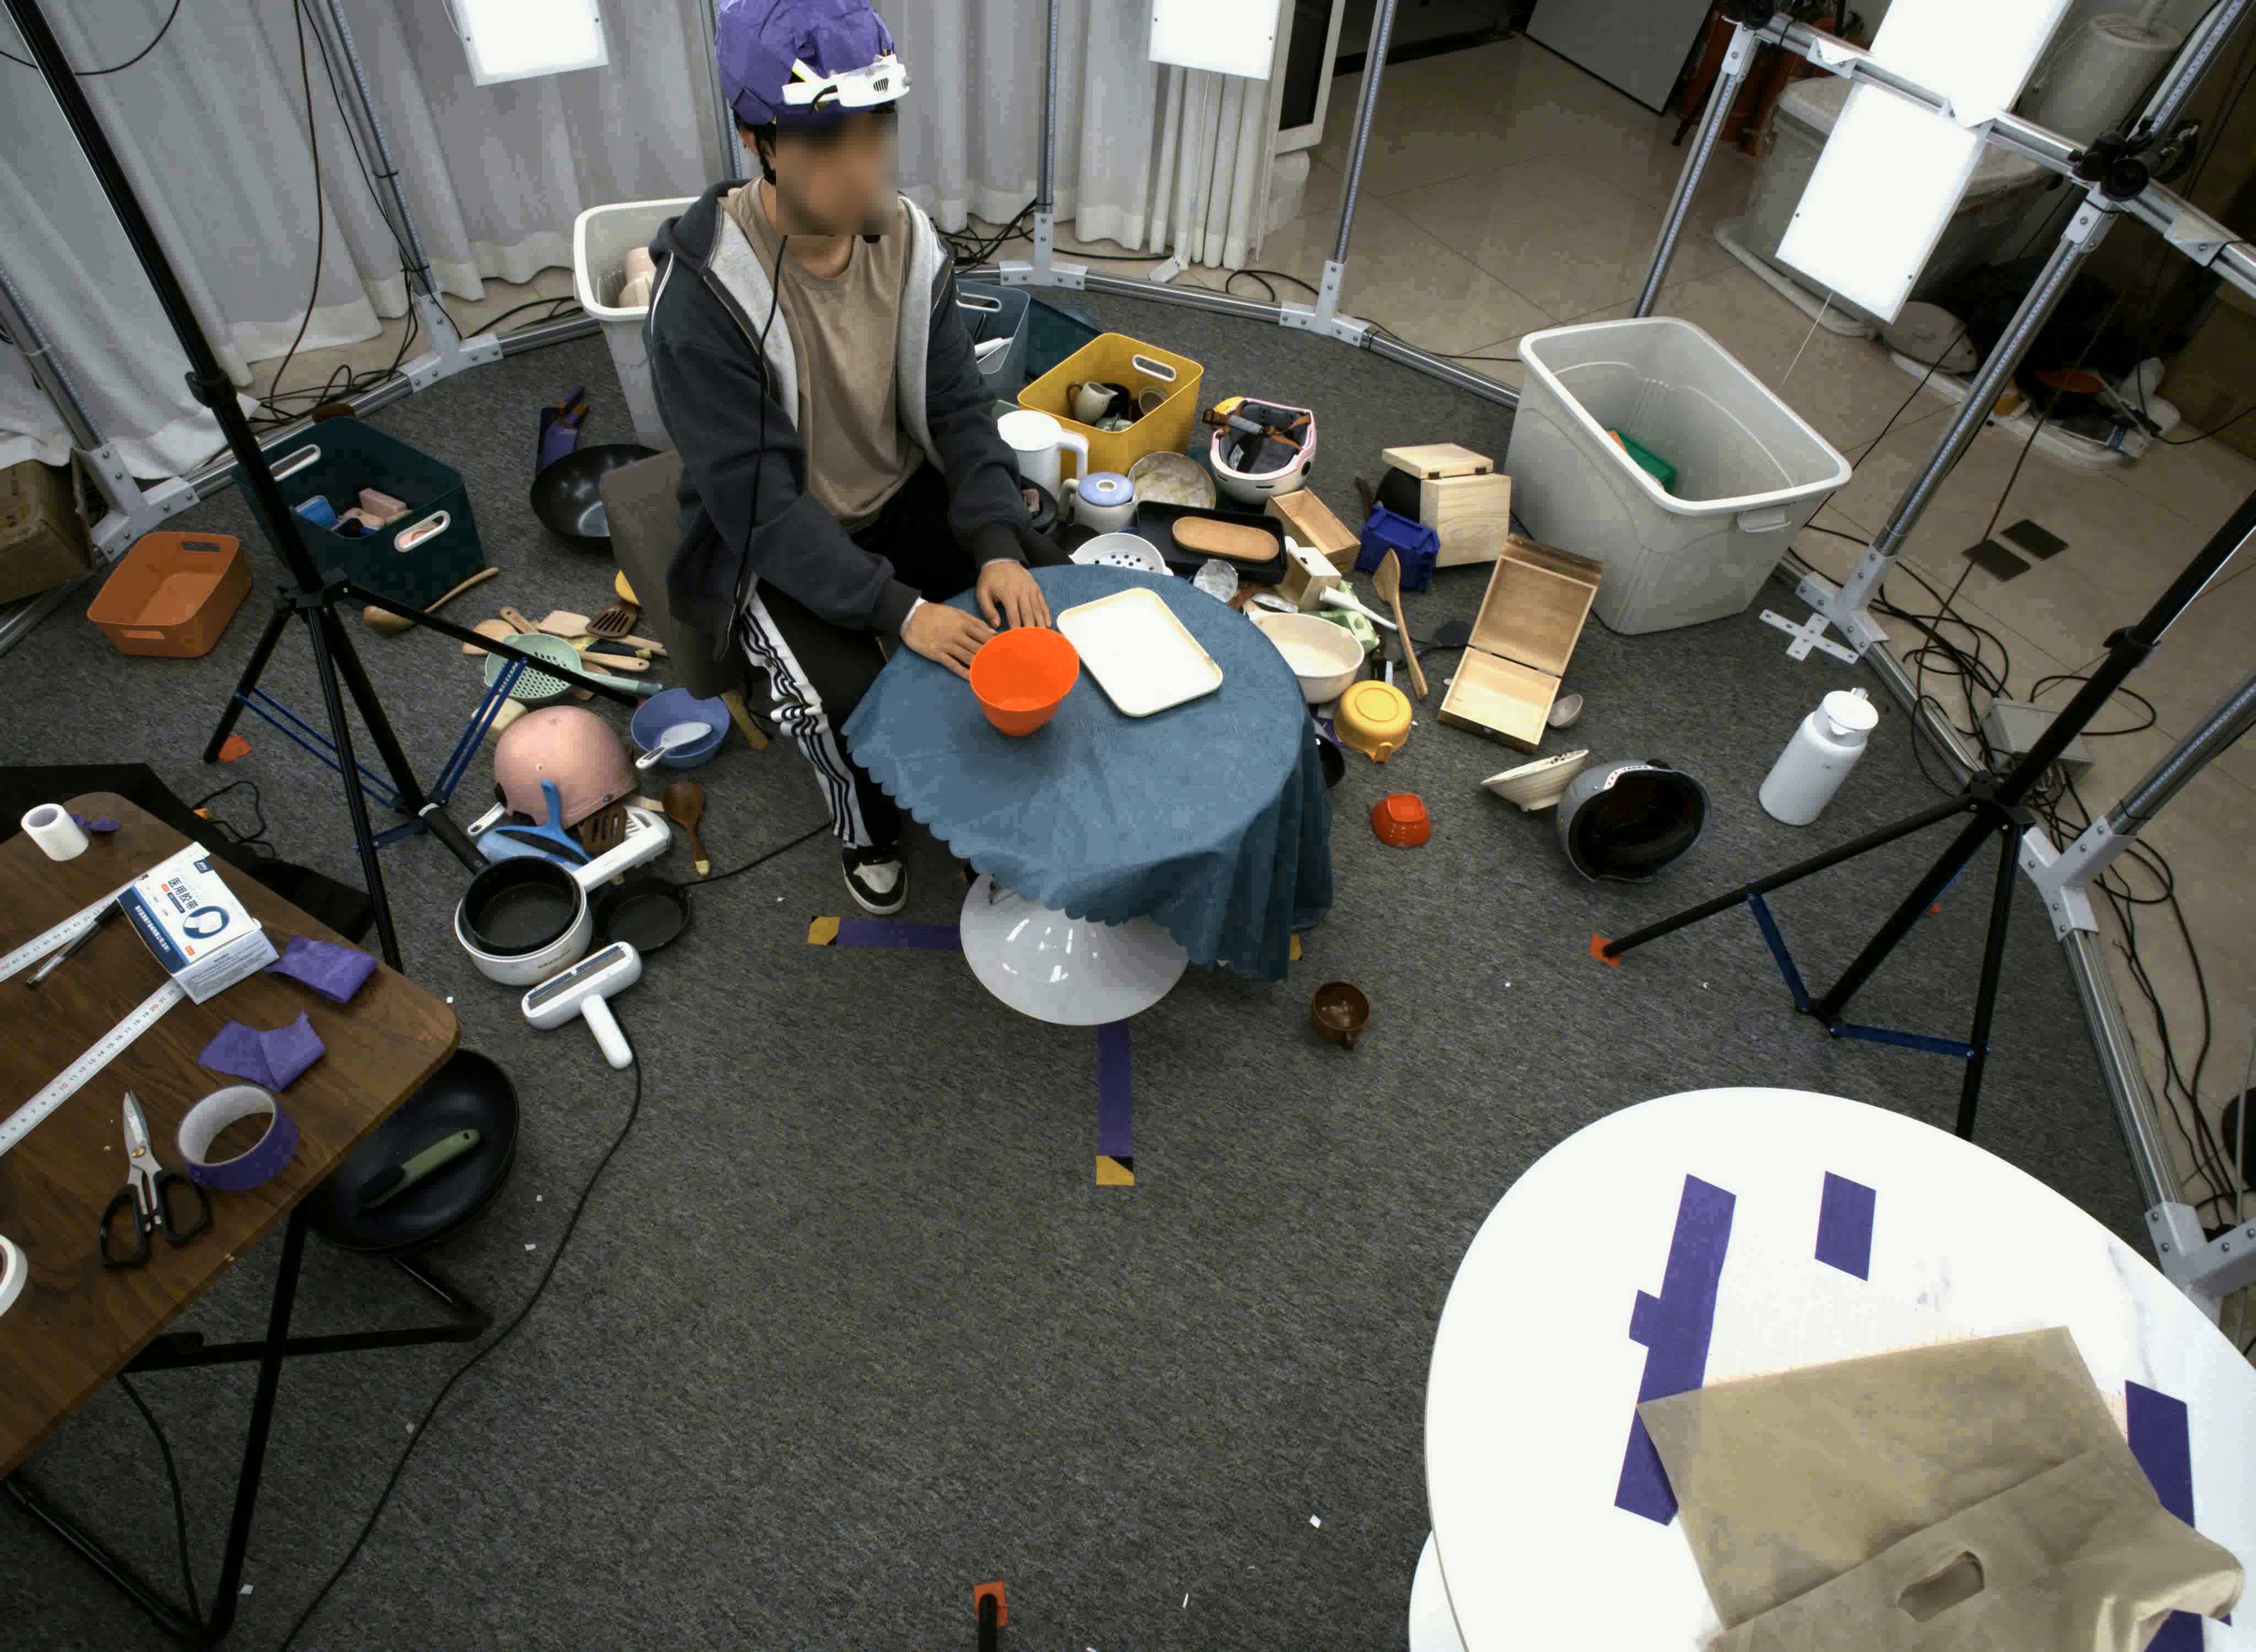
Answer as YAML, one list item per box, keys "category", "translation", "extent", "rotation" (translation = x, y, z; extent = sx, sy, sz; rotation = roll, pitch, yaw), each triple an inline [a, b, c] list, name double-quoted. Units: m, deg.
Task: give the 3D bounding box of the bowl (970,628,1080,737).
- category: "bowl"
  translation: [-0.141, -0.185, 1.752]
  extent: [0.148, 0.102, 0.152]
  rotation: [3, 50, -4]

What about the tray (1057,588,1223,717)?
- category: "tray"
  translation: [0.016, -0.255, 1.878]
  extent: [0.172, 0.017, 0.245]
  rotation: [-21, 54, -20]
